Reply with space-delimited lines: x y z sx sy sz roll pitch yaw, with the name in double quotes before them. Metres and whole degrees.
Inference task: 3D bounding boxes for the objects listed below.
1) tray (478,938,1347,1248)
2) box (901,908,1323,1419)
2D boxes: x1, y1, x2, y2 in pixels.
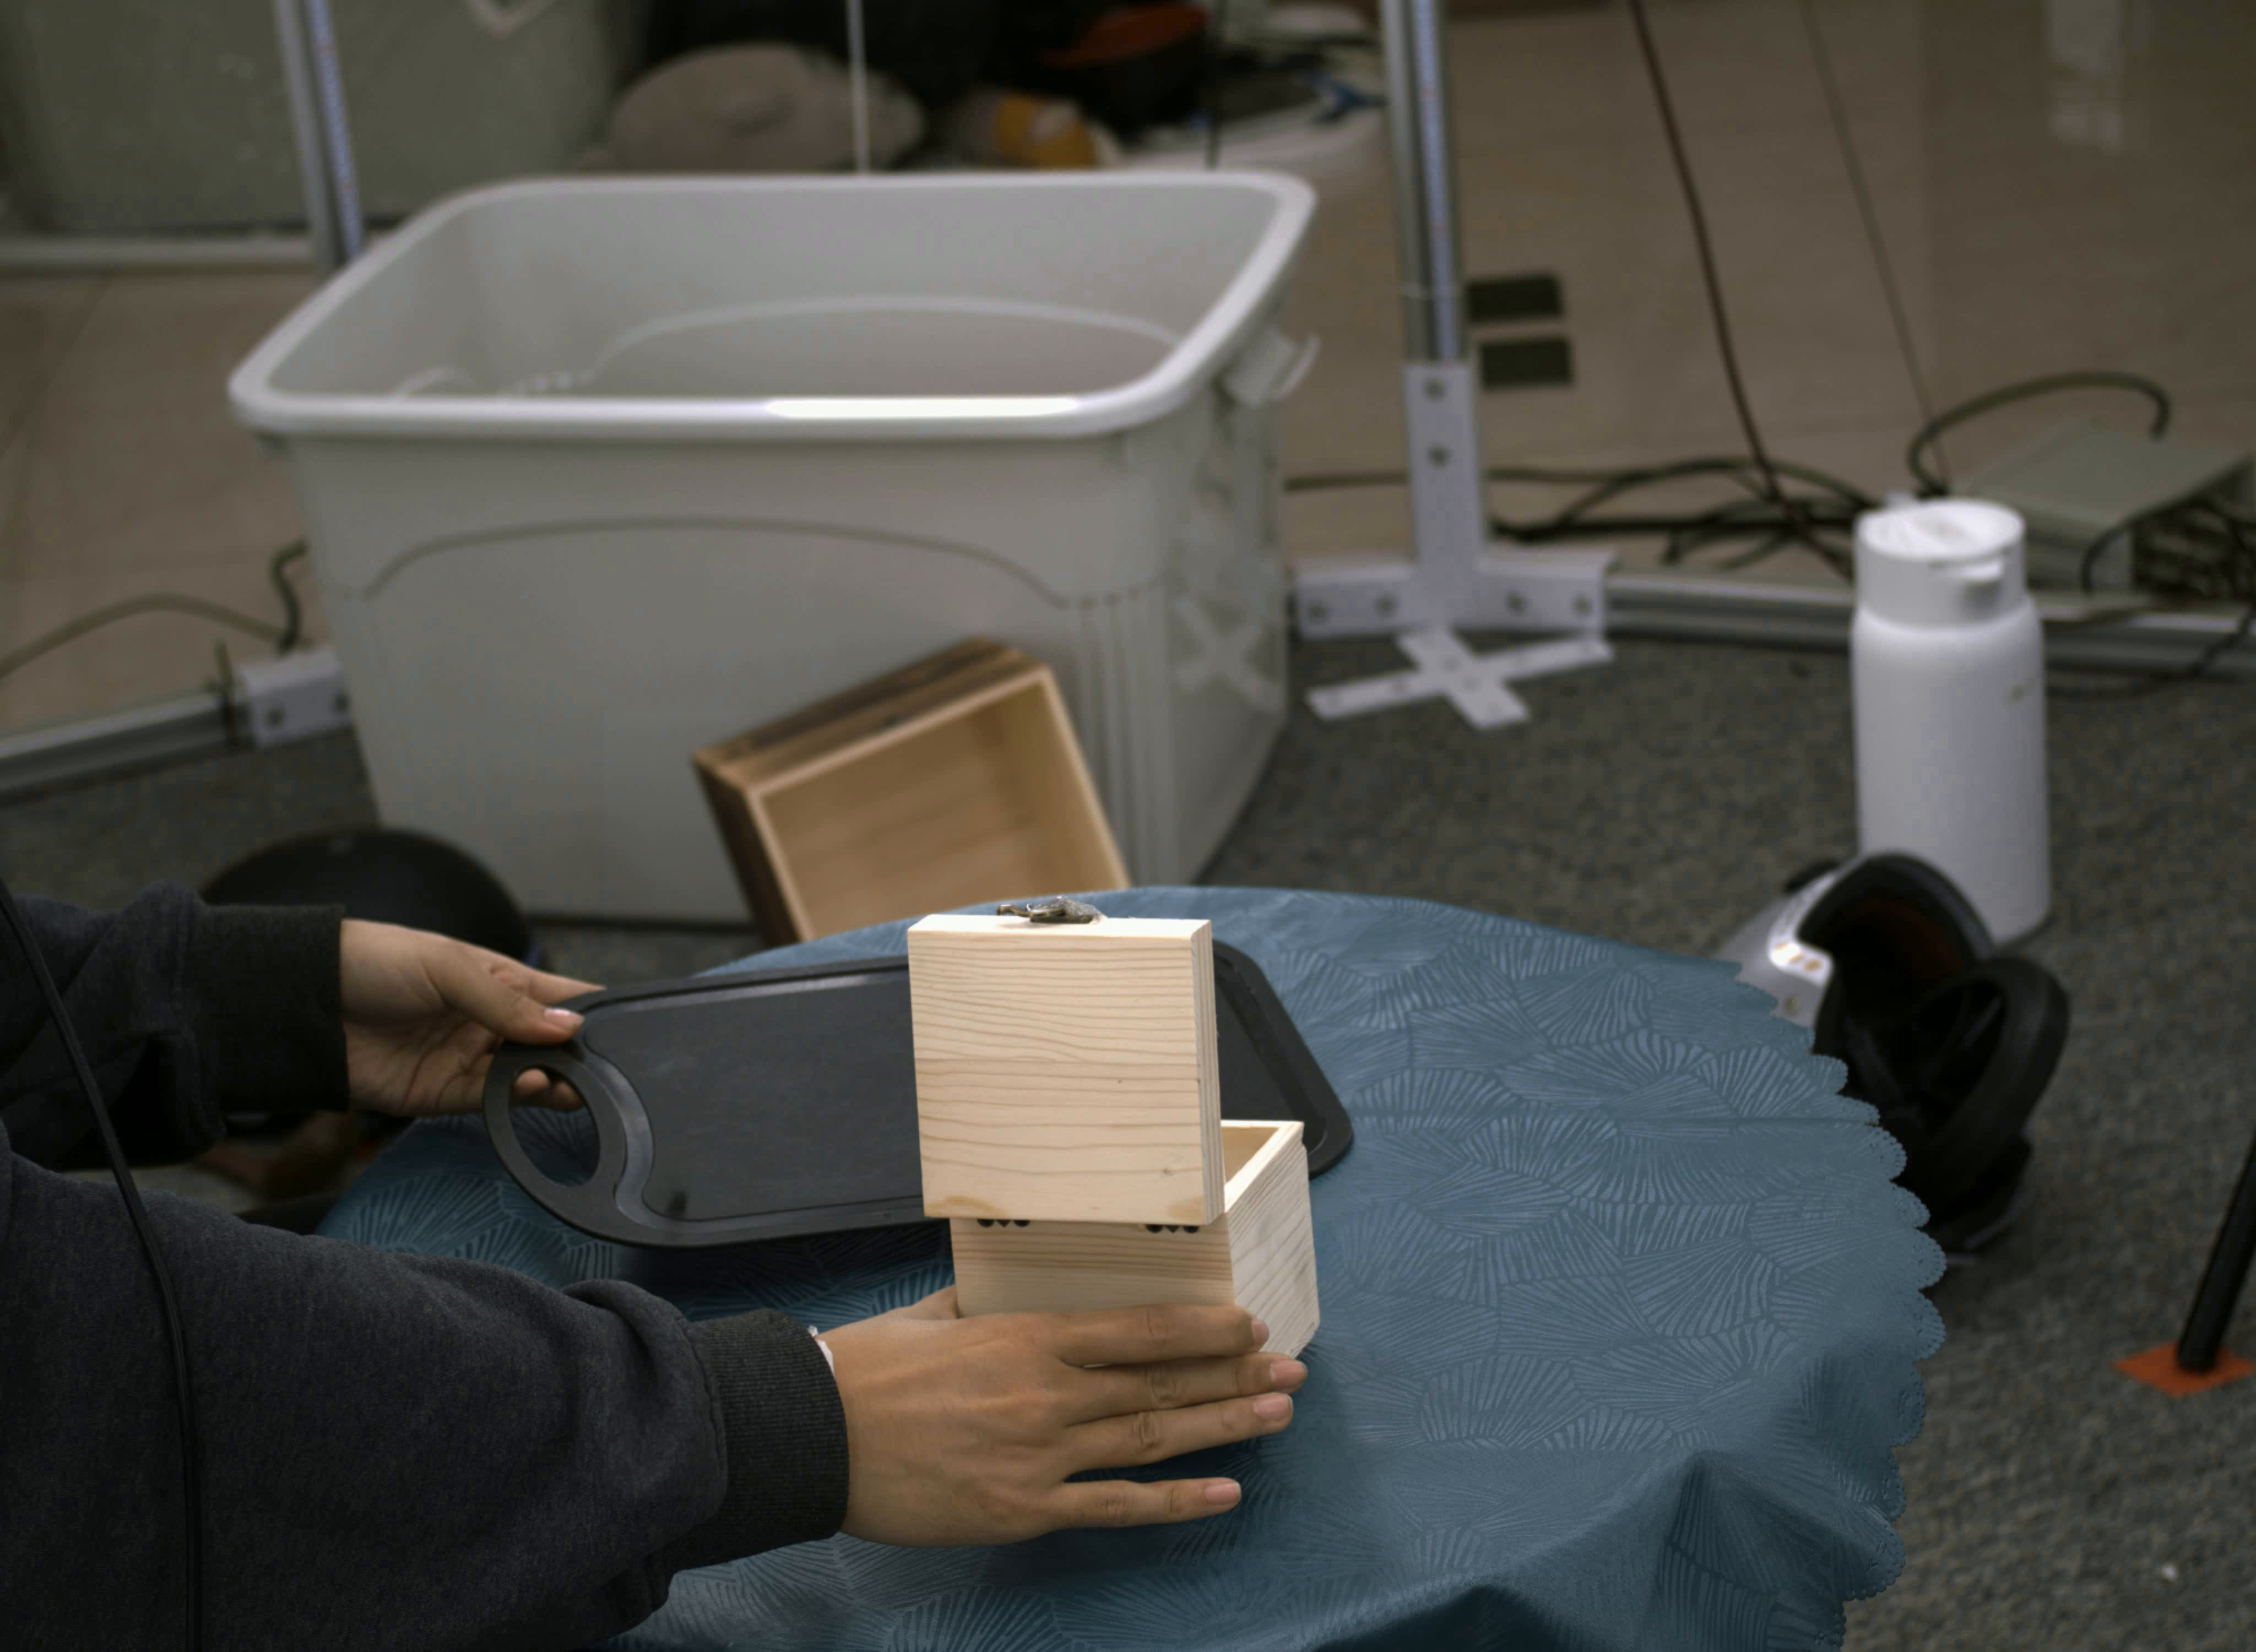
"tray" -0.088 0.099 2.192 0.325 0.010 0.208 -5 27 -13
"box" -0.003 0.105 1.964 0.102 0.187 0.132 0 17 17
